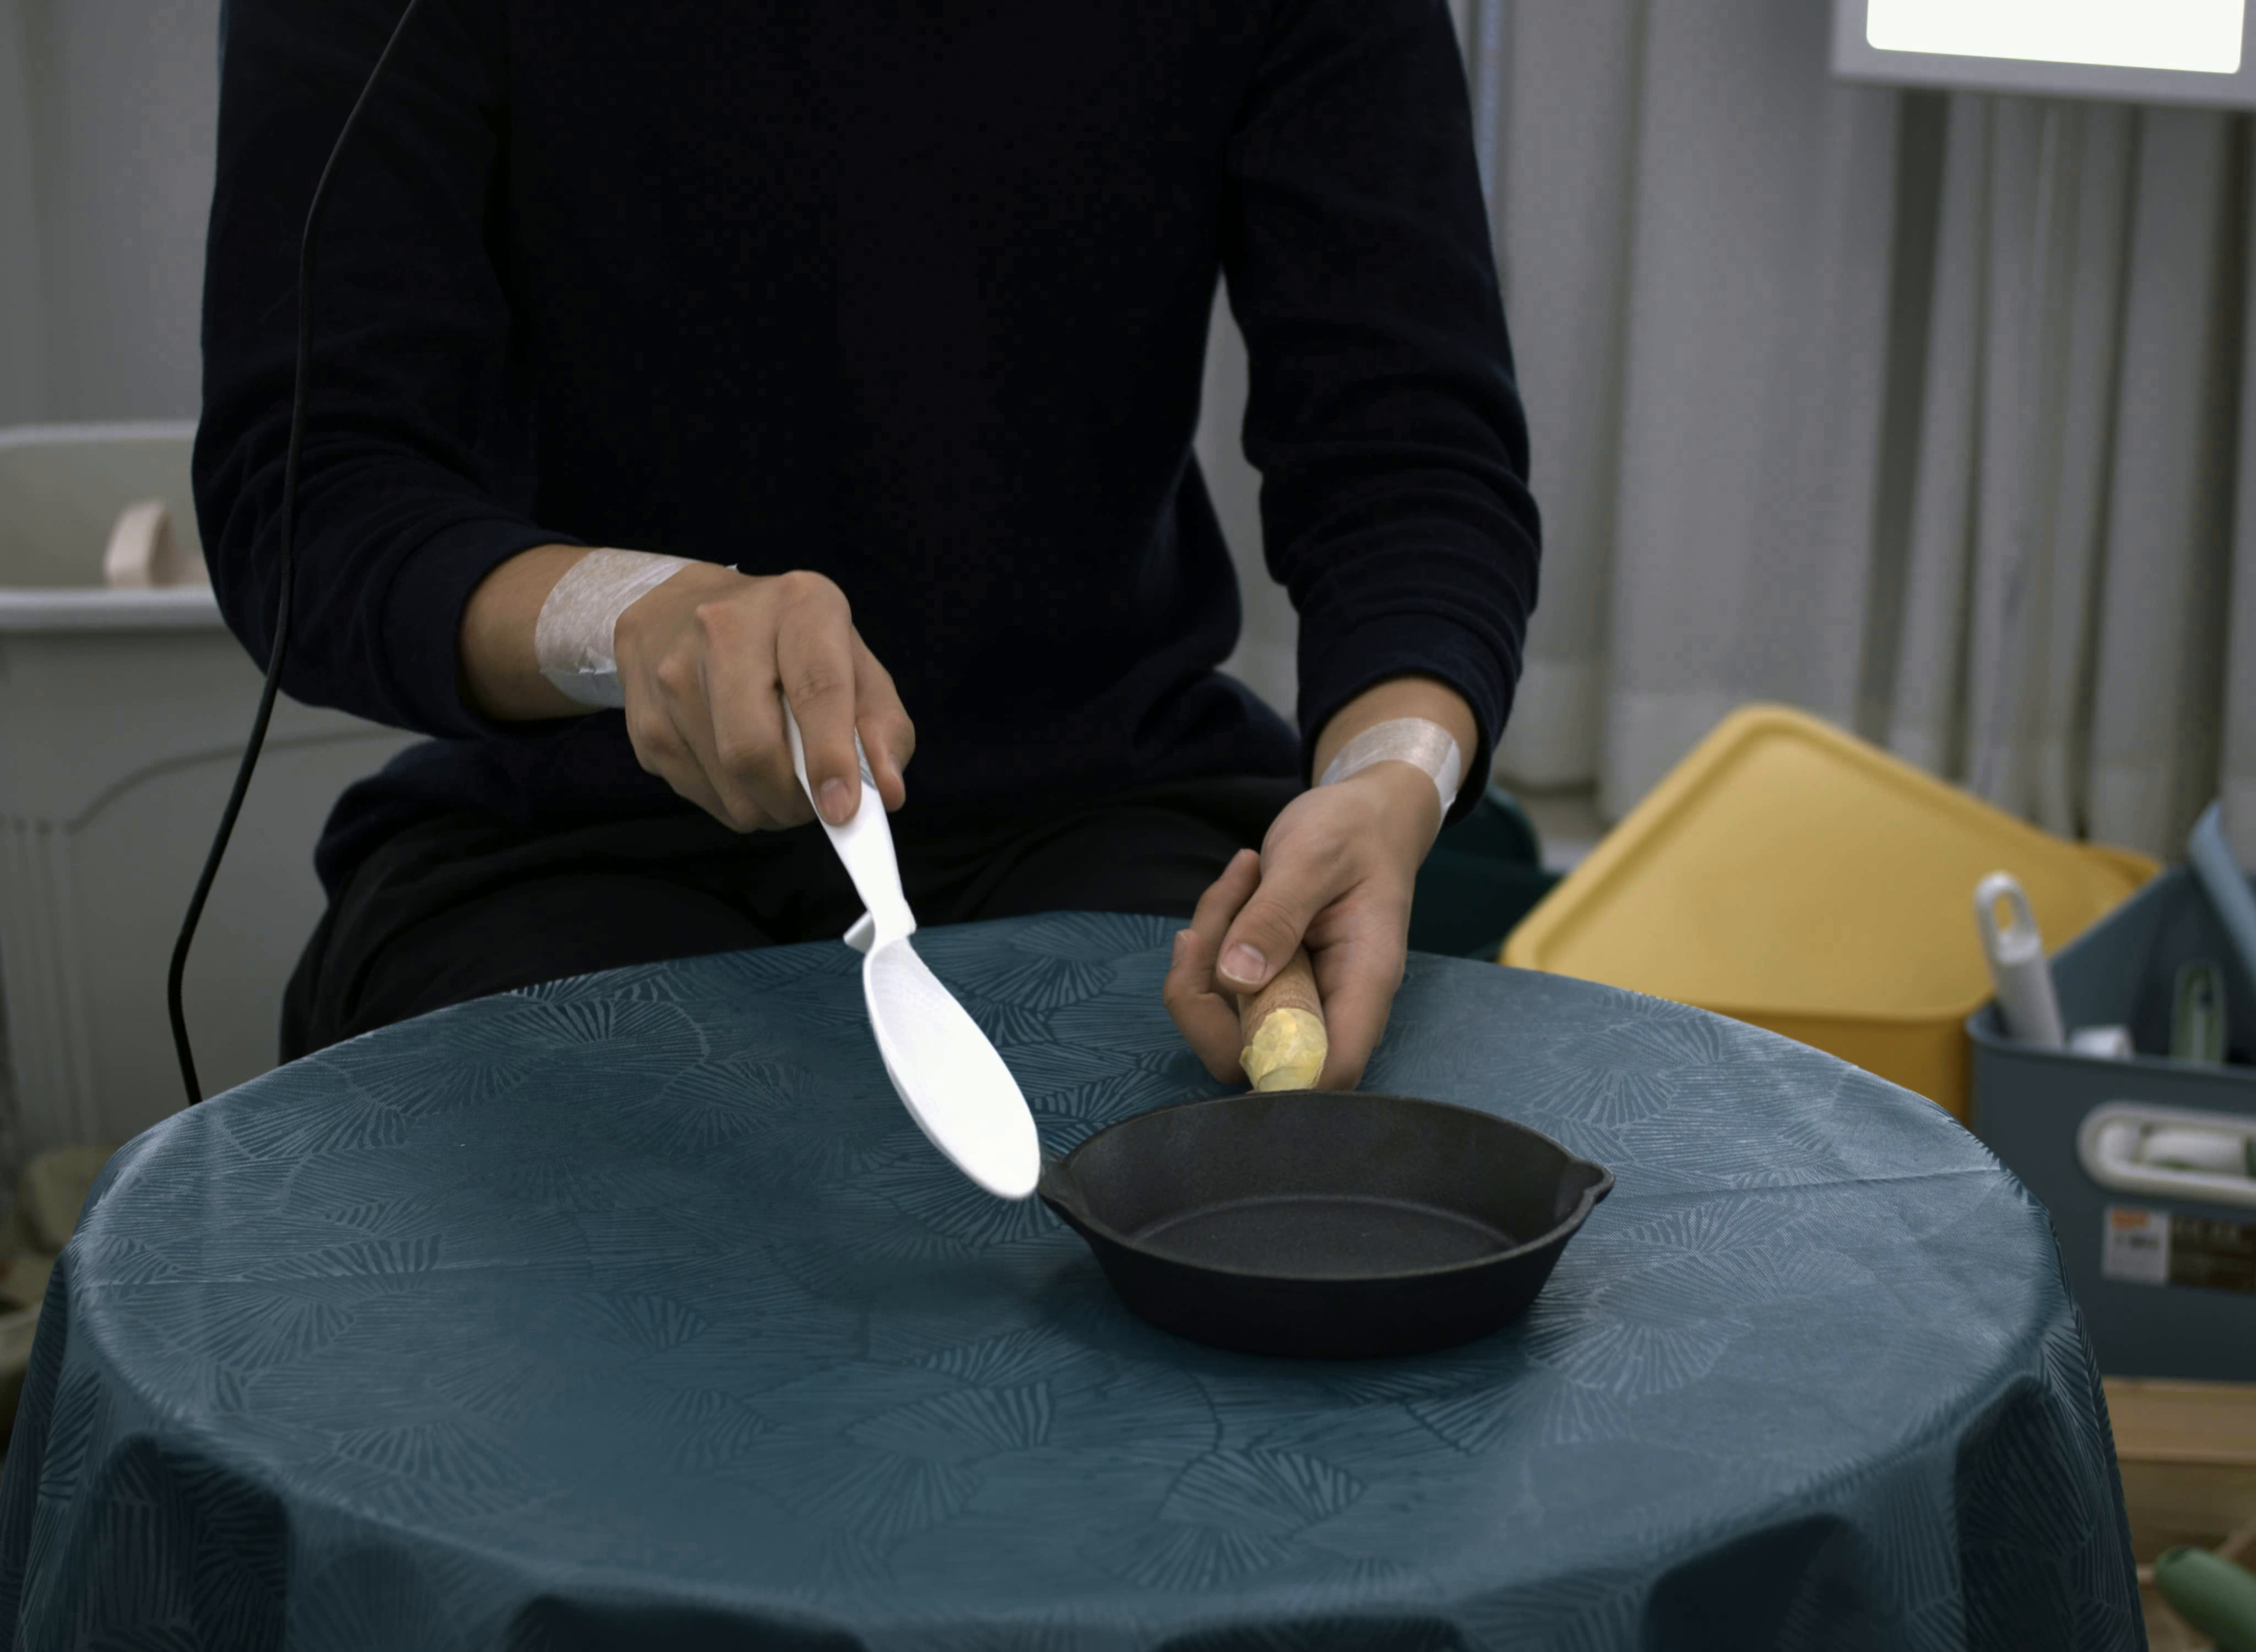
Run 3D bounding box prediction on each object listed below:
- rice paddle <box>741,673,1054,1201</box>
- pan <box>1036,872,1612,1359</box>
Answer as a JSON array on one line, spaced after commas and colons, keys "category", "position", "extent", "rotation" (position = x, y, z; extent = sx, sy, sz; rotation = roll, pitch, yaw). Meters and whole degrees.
[{"category": "rice paddle", "position": [-0.069, 0.034, 1.575], "extent": [0.069, 0.029, 0.203], "rotation": [28, 27, -47]}, {"category": "pan", "position": [0.055, 0.085, 1.618], "extent": [0.168, 0.050, 0.322], "rotation": [0, 18, -2]}]
